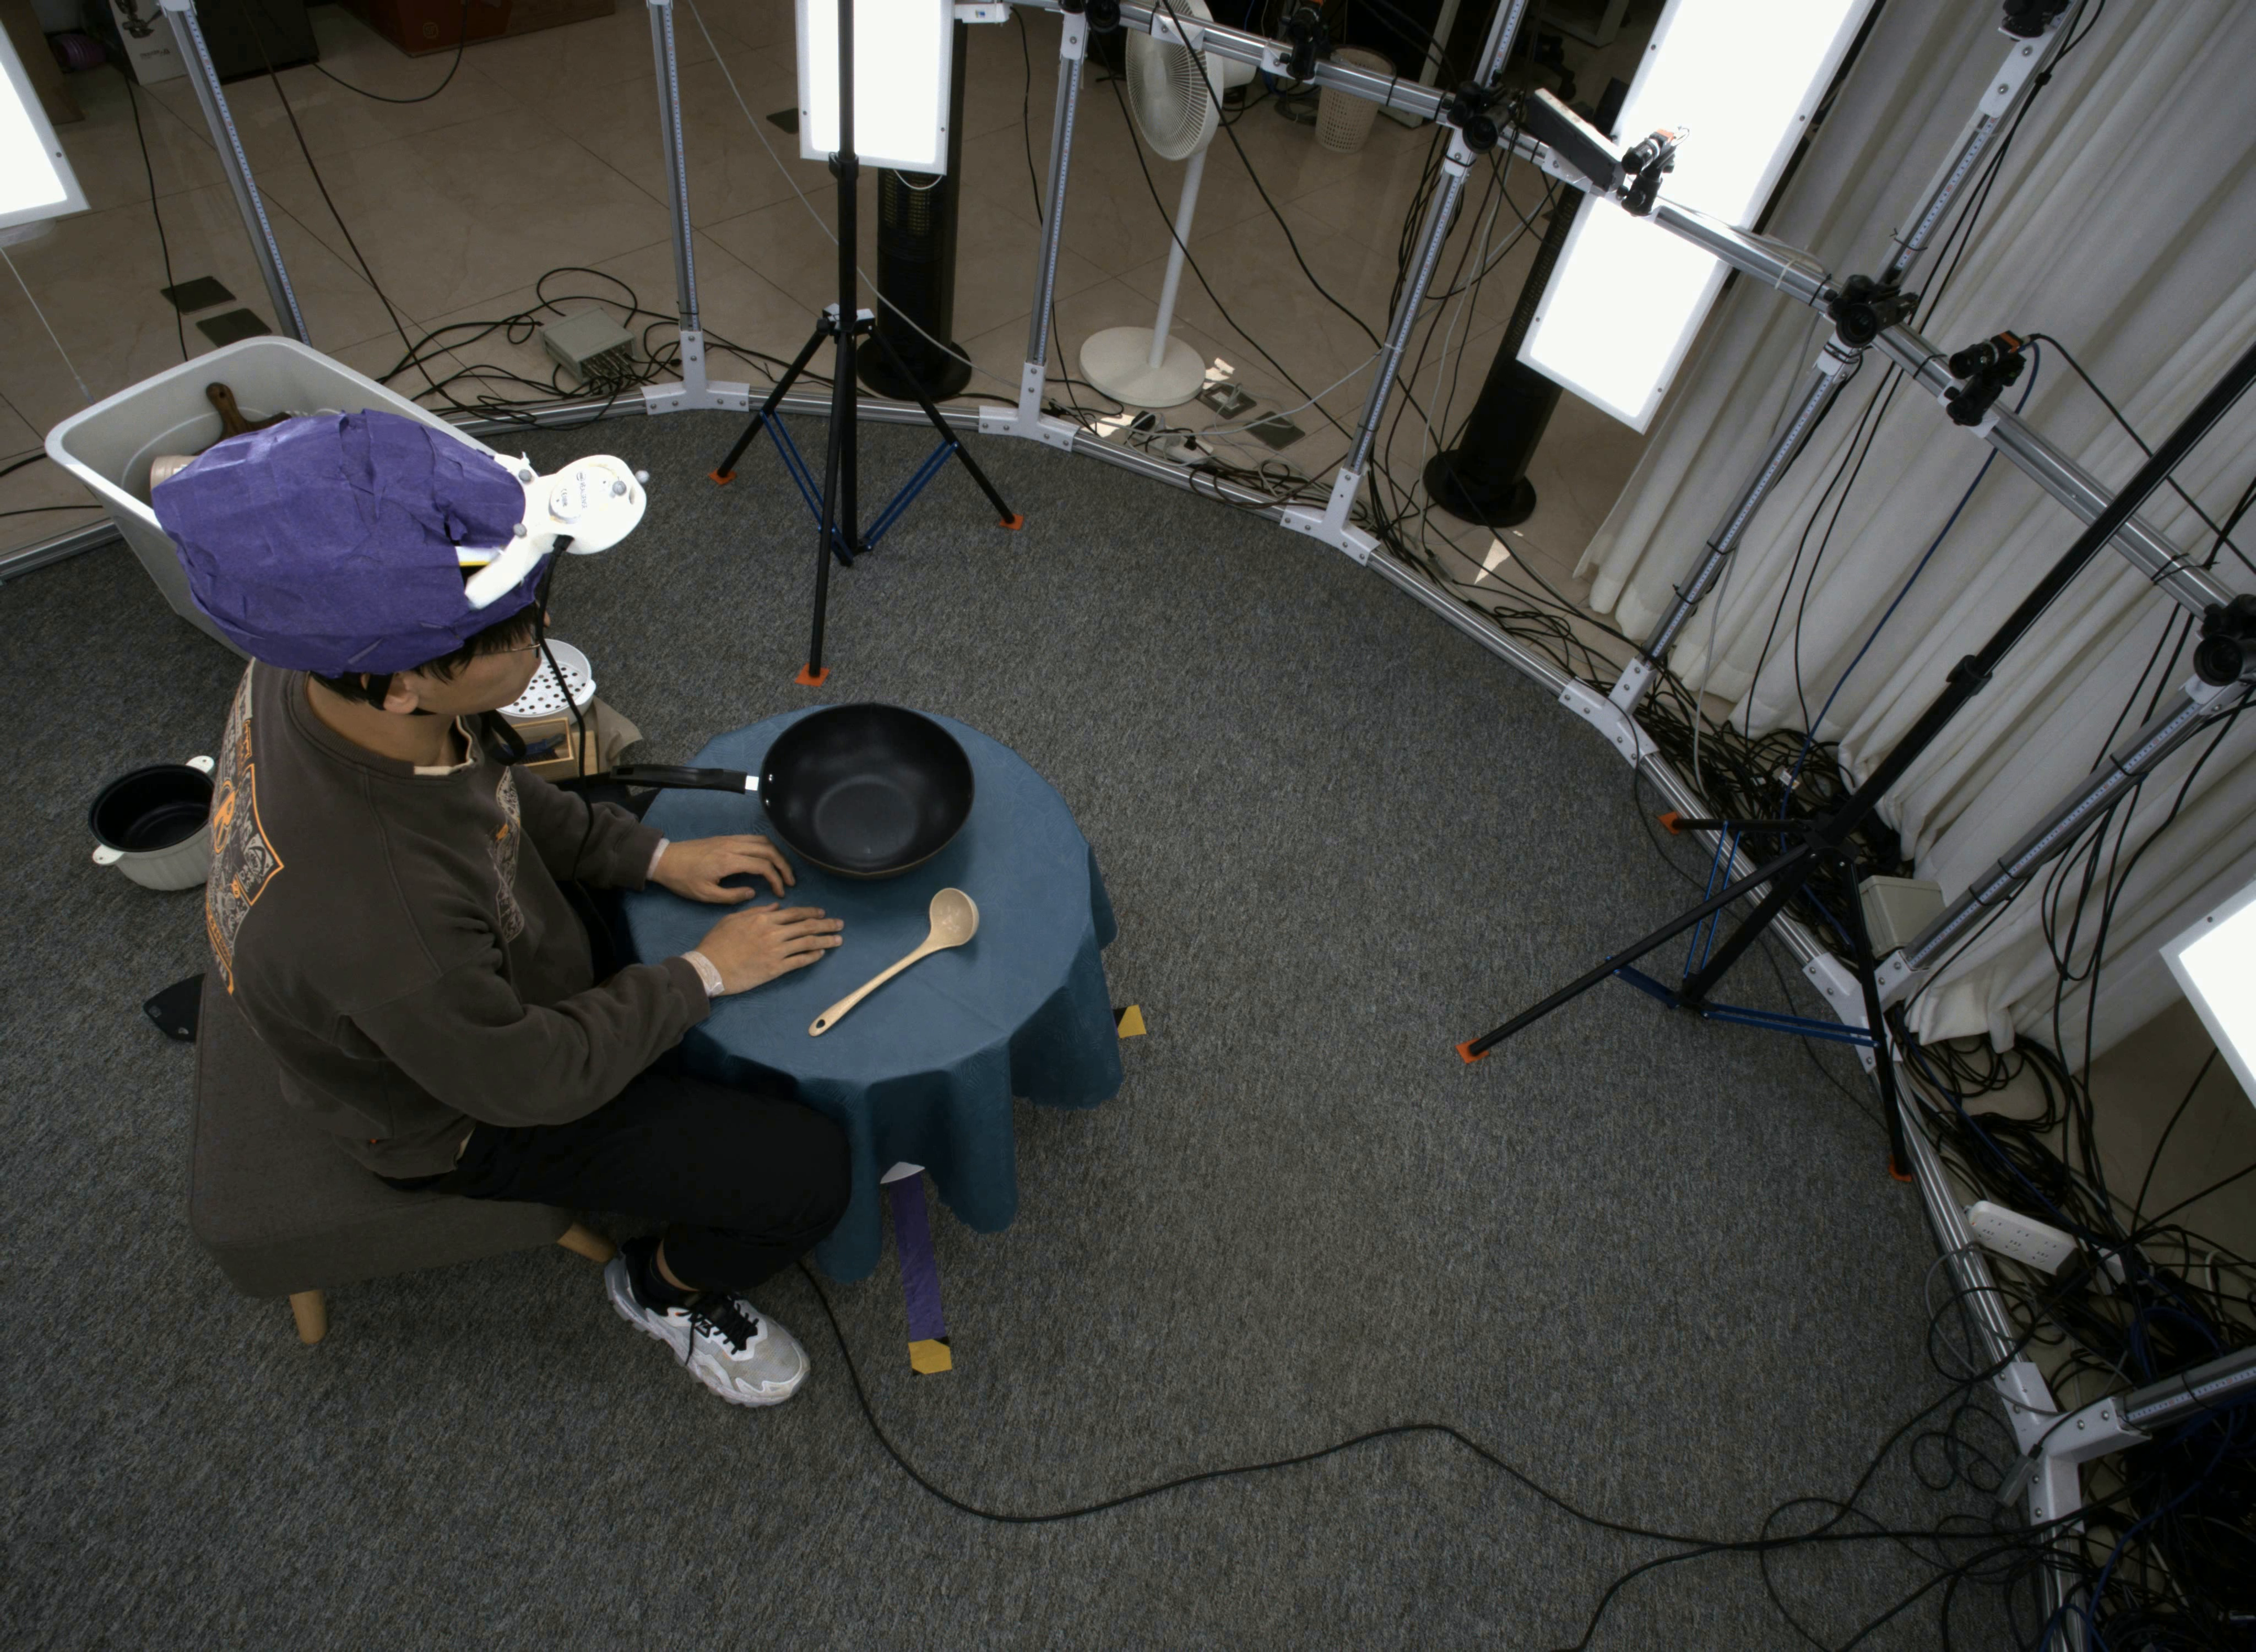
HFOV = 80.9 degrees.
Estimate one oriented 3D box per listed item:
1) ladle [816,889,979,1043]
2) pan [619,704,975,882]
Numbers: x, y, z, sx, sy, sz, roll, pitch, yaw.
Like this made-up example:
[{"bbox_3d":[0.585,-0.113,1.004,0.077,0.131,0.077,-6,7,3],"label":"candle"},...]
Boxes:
[{"bbox_3d":[-0.286,0.167,1.603,0.071,0.074,0.254,41,56,13],"label":"ladle"},{"bbox_3d":[-0.433,-0.035,1.709,0.463,0.089,0.282,2,54,-11],"label":"pan"}]
